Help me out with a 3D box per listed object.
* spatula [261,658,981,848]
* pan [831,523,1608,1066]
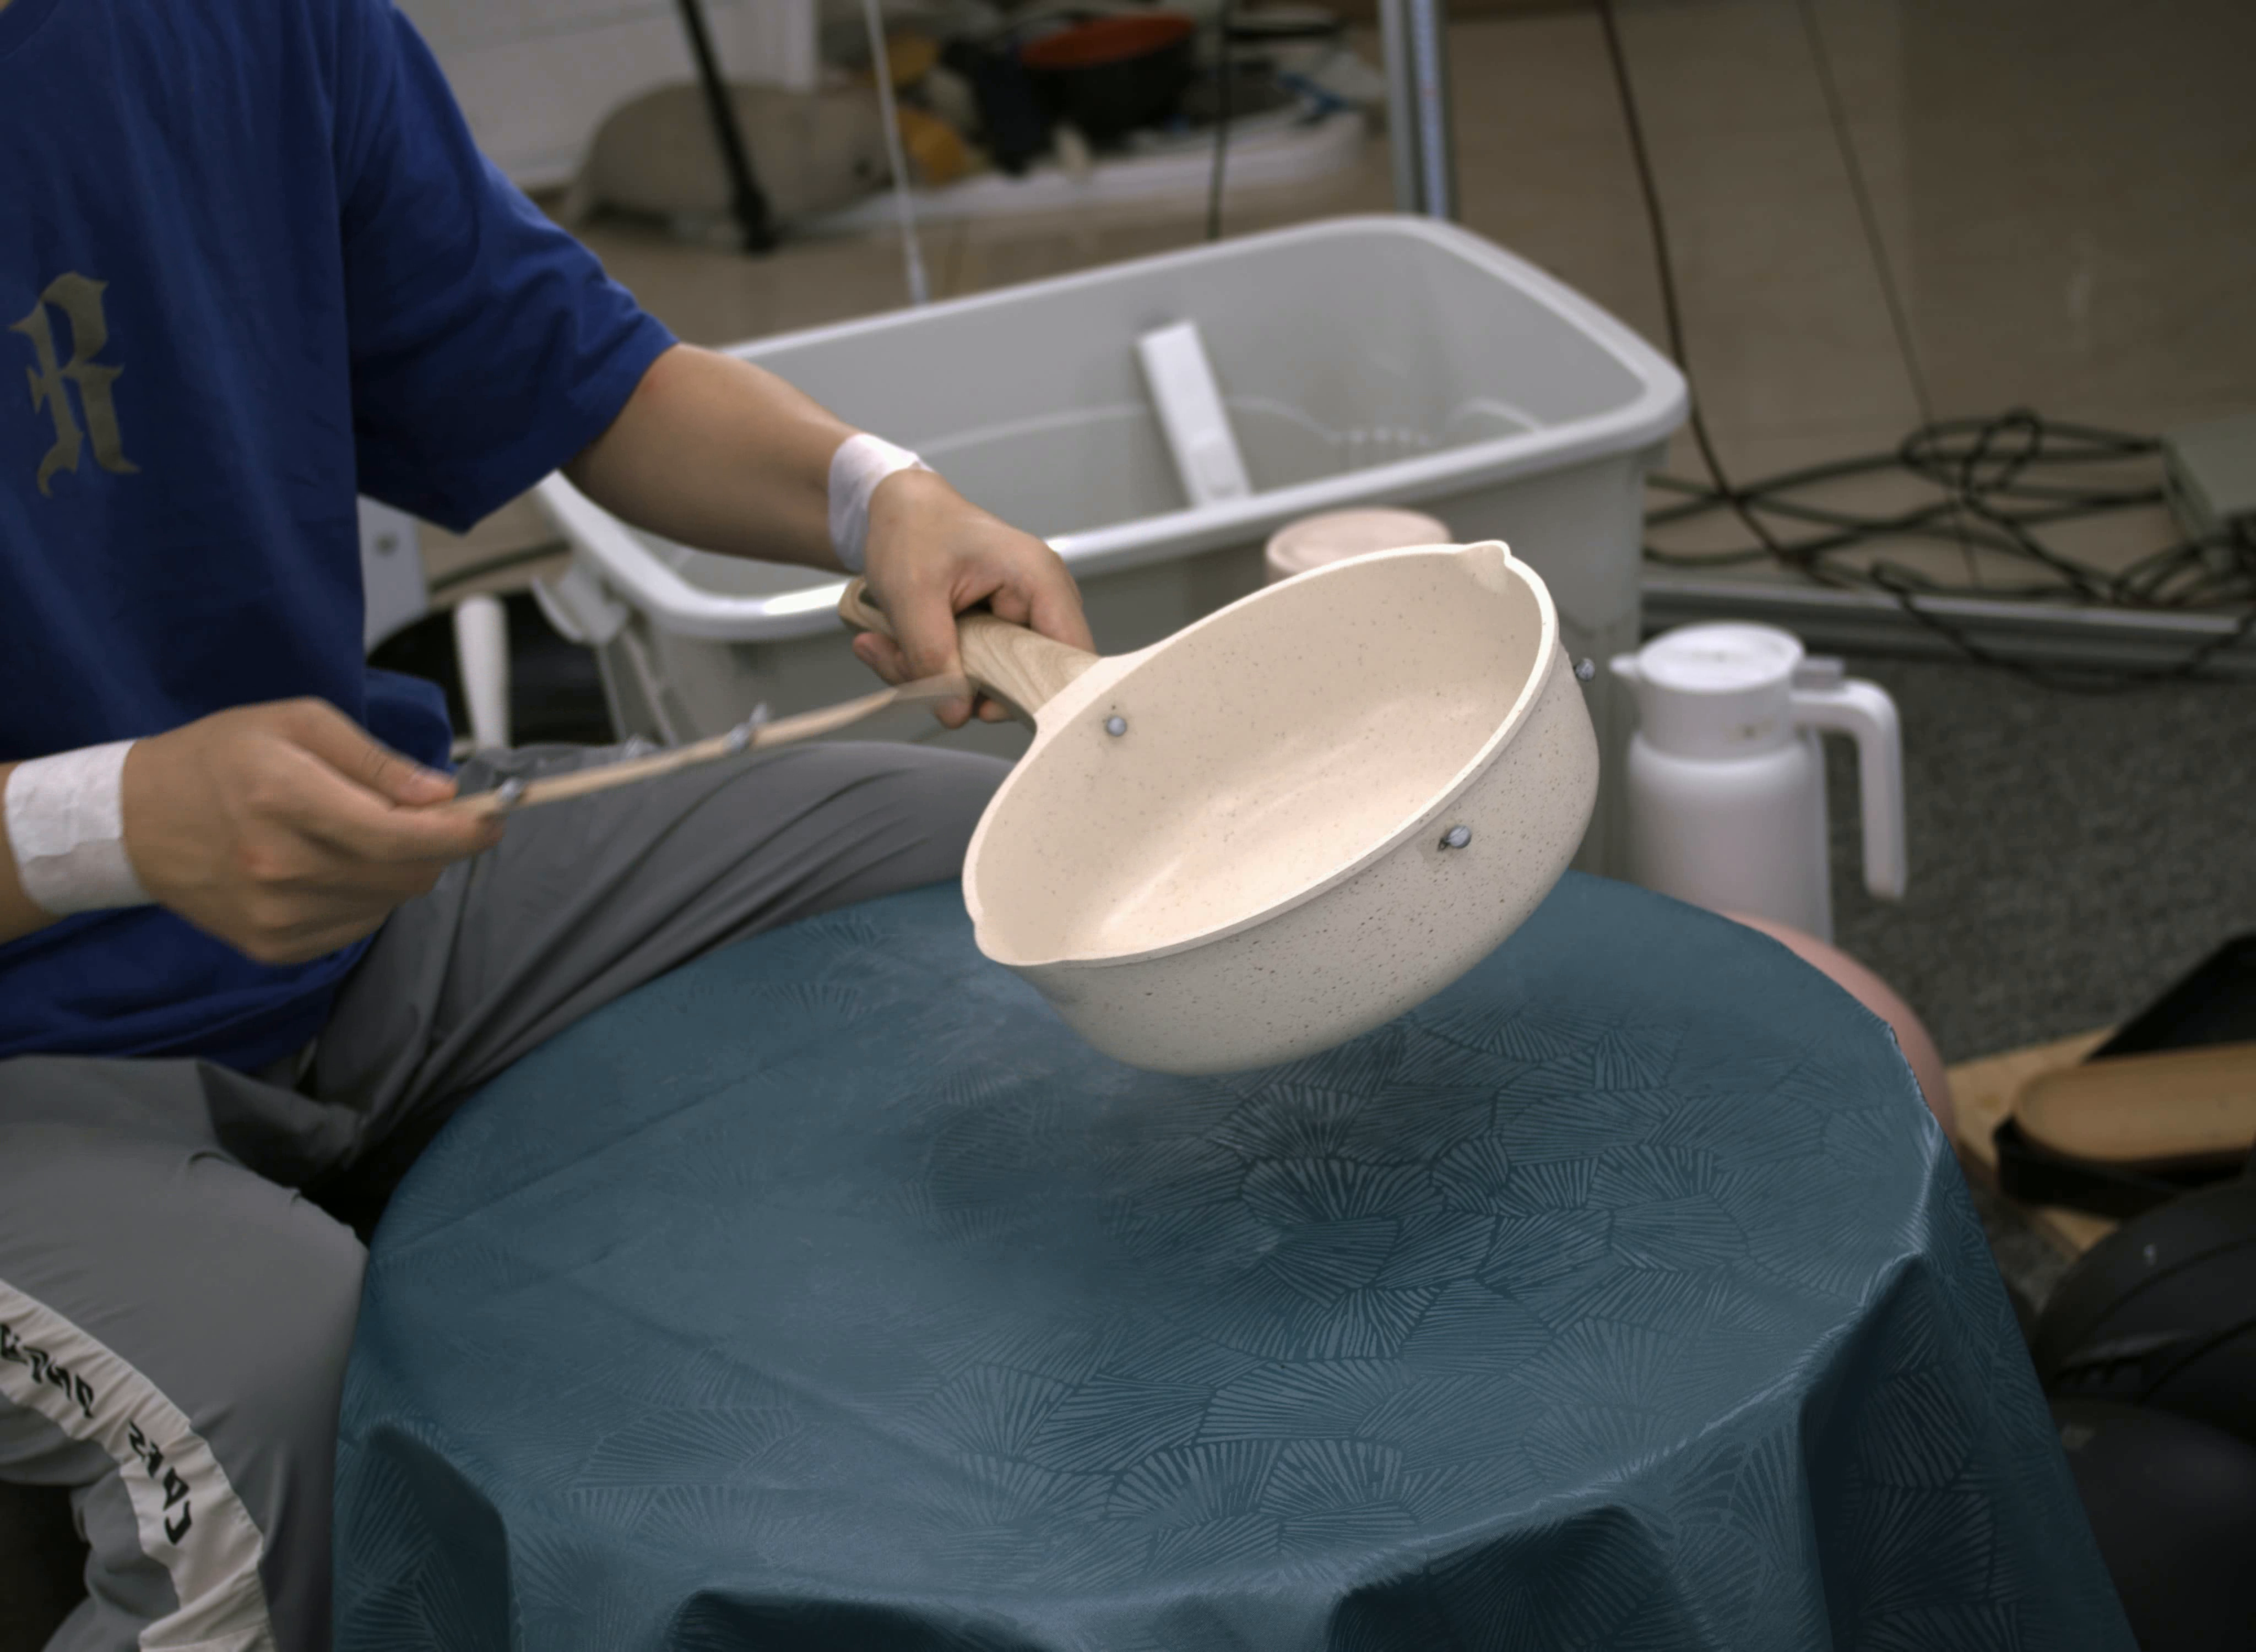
[{"bbox_3d":[-0.192,-0.024,2.044,0.293,0.011,0.072,-12,3,26],"label":"spatula"},{"bbox_3d":[0.018,-0.025,2.228,0.261,0.103,0.432,-42,28,-18],"label":"pan"}]
